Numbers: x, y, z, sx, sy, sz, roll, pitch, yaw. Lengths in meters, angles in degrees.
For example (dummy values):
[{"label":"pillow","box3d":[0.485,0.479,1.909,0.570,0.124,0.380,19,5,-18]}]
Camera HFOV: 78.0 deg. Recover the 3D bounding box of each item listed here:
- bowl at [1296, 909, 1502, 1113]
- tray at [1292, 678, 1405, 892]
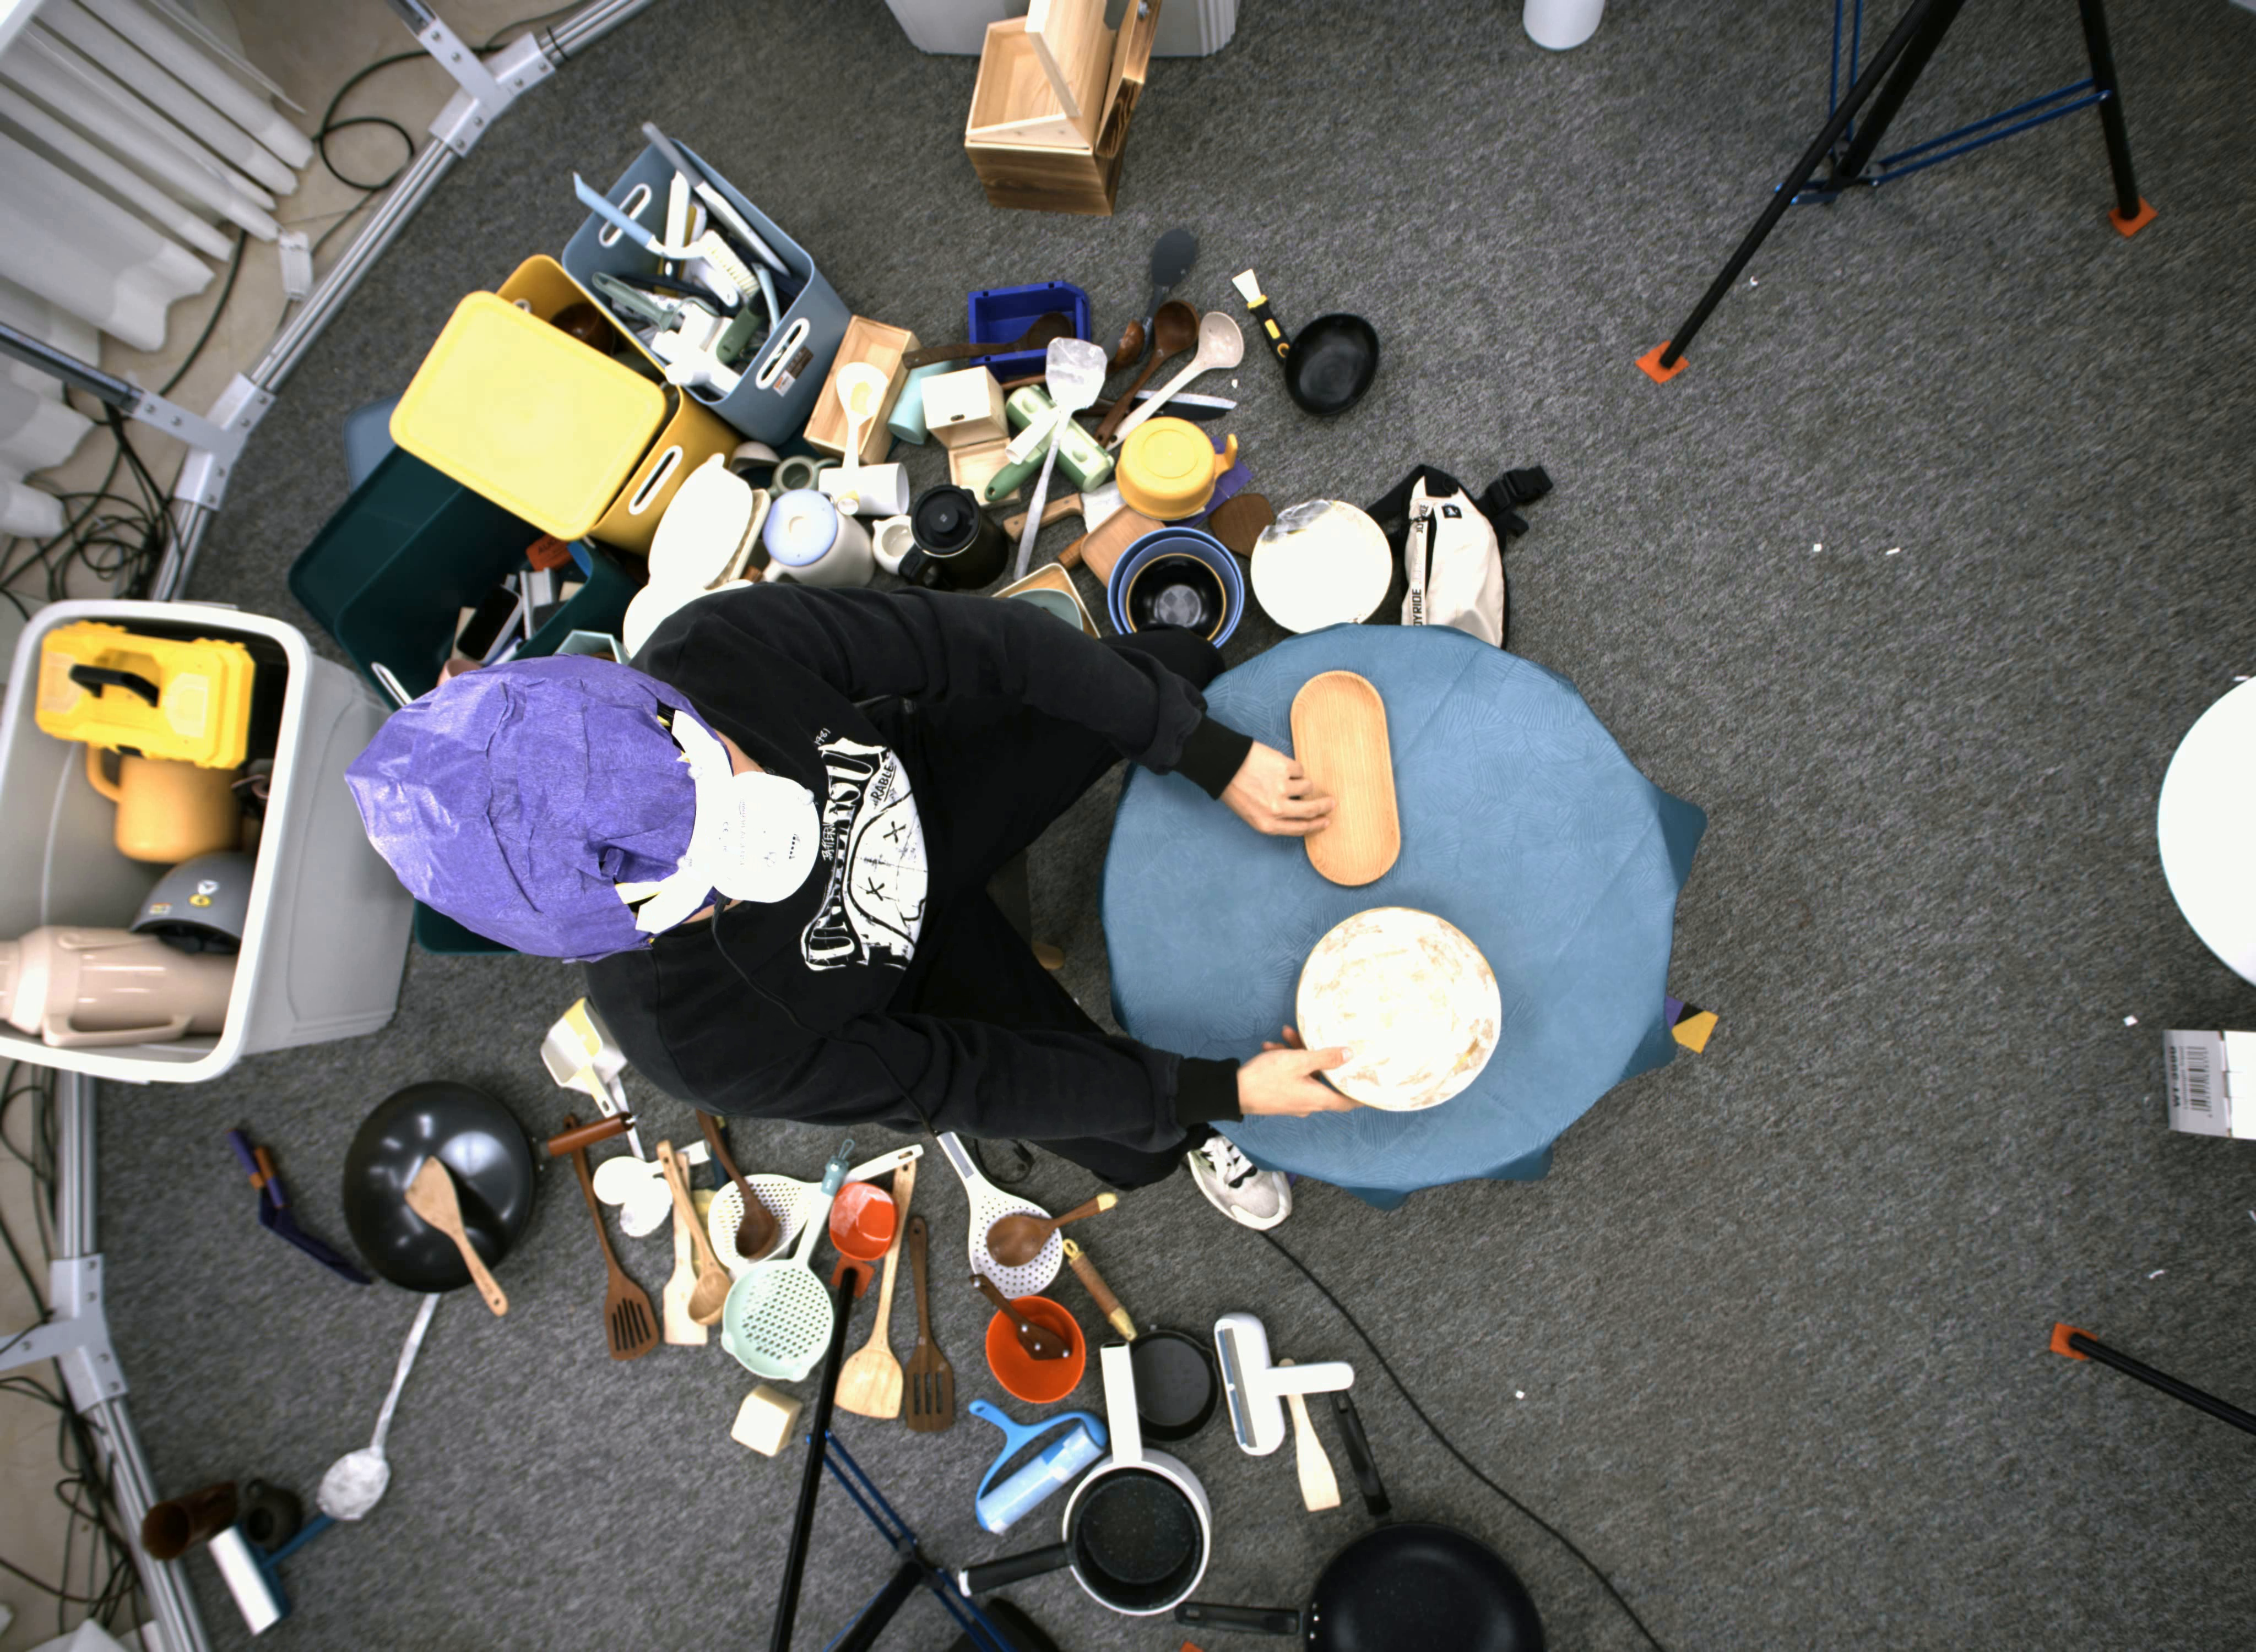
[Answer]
[{"label":"bowl","box3d":[0.273,0.182,1.409,0.215,0.094,0.214,-1,86,10]},{"label":"tray","box3d":[0.235,-0.046,1.471,0.102,0.020,0.230,-8,86,12]}]
